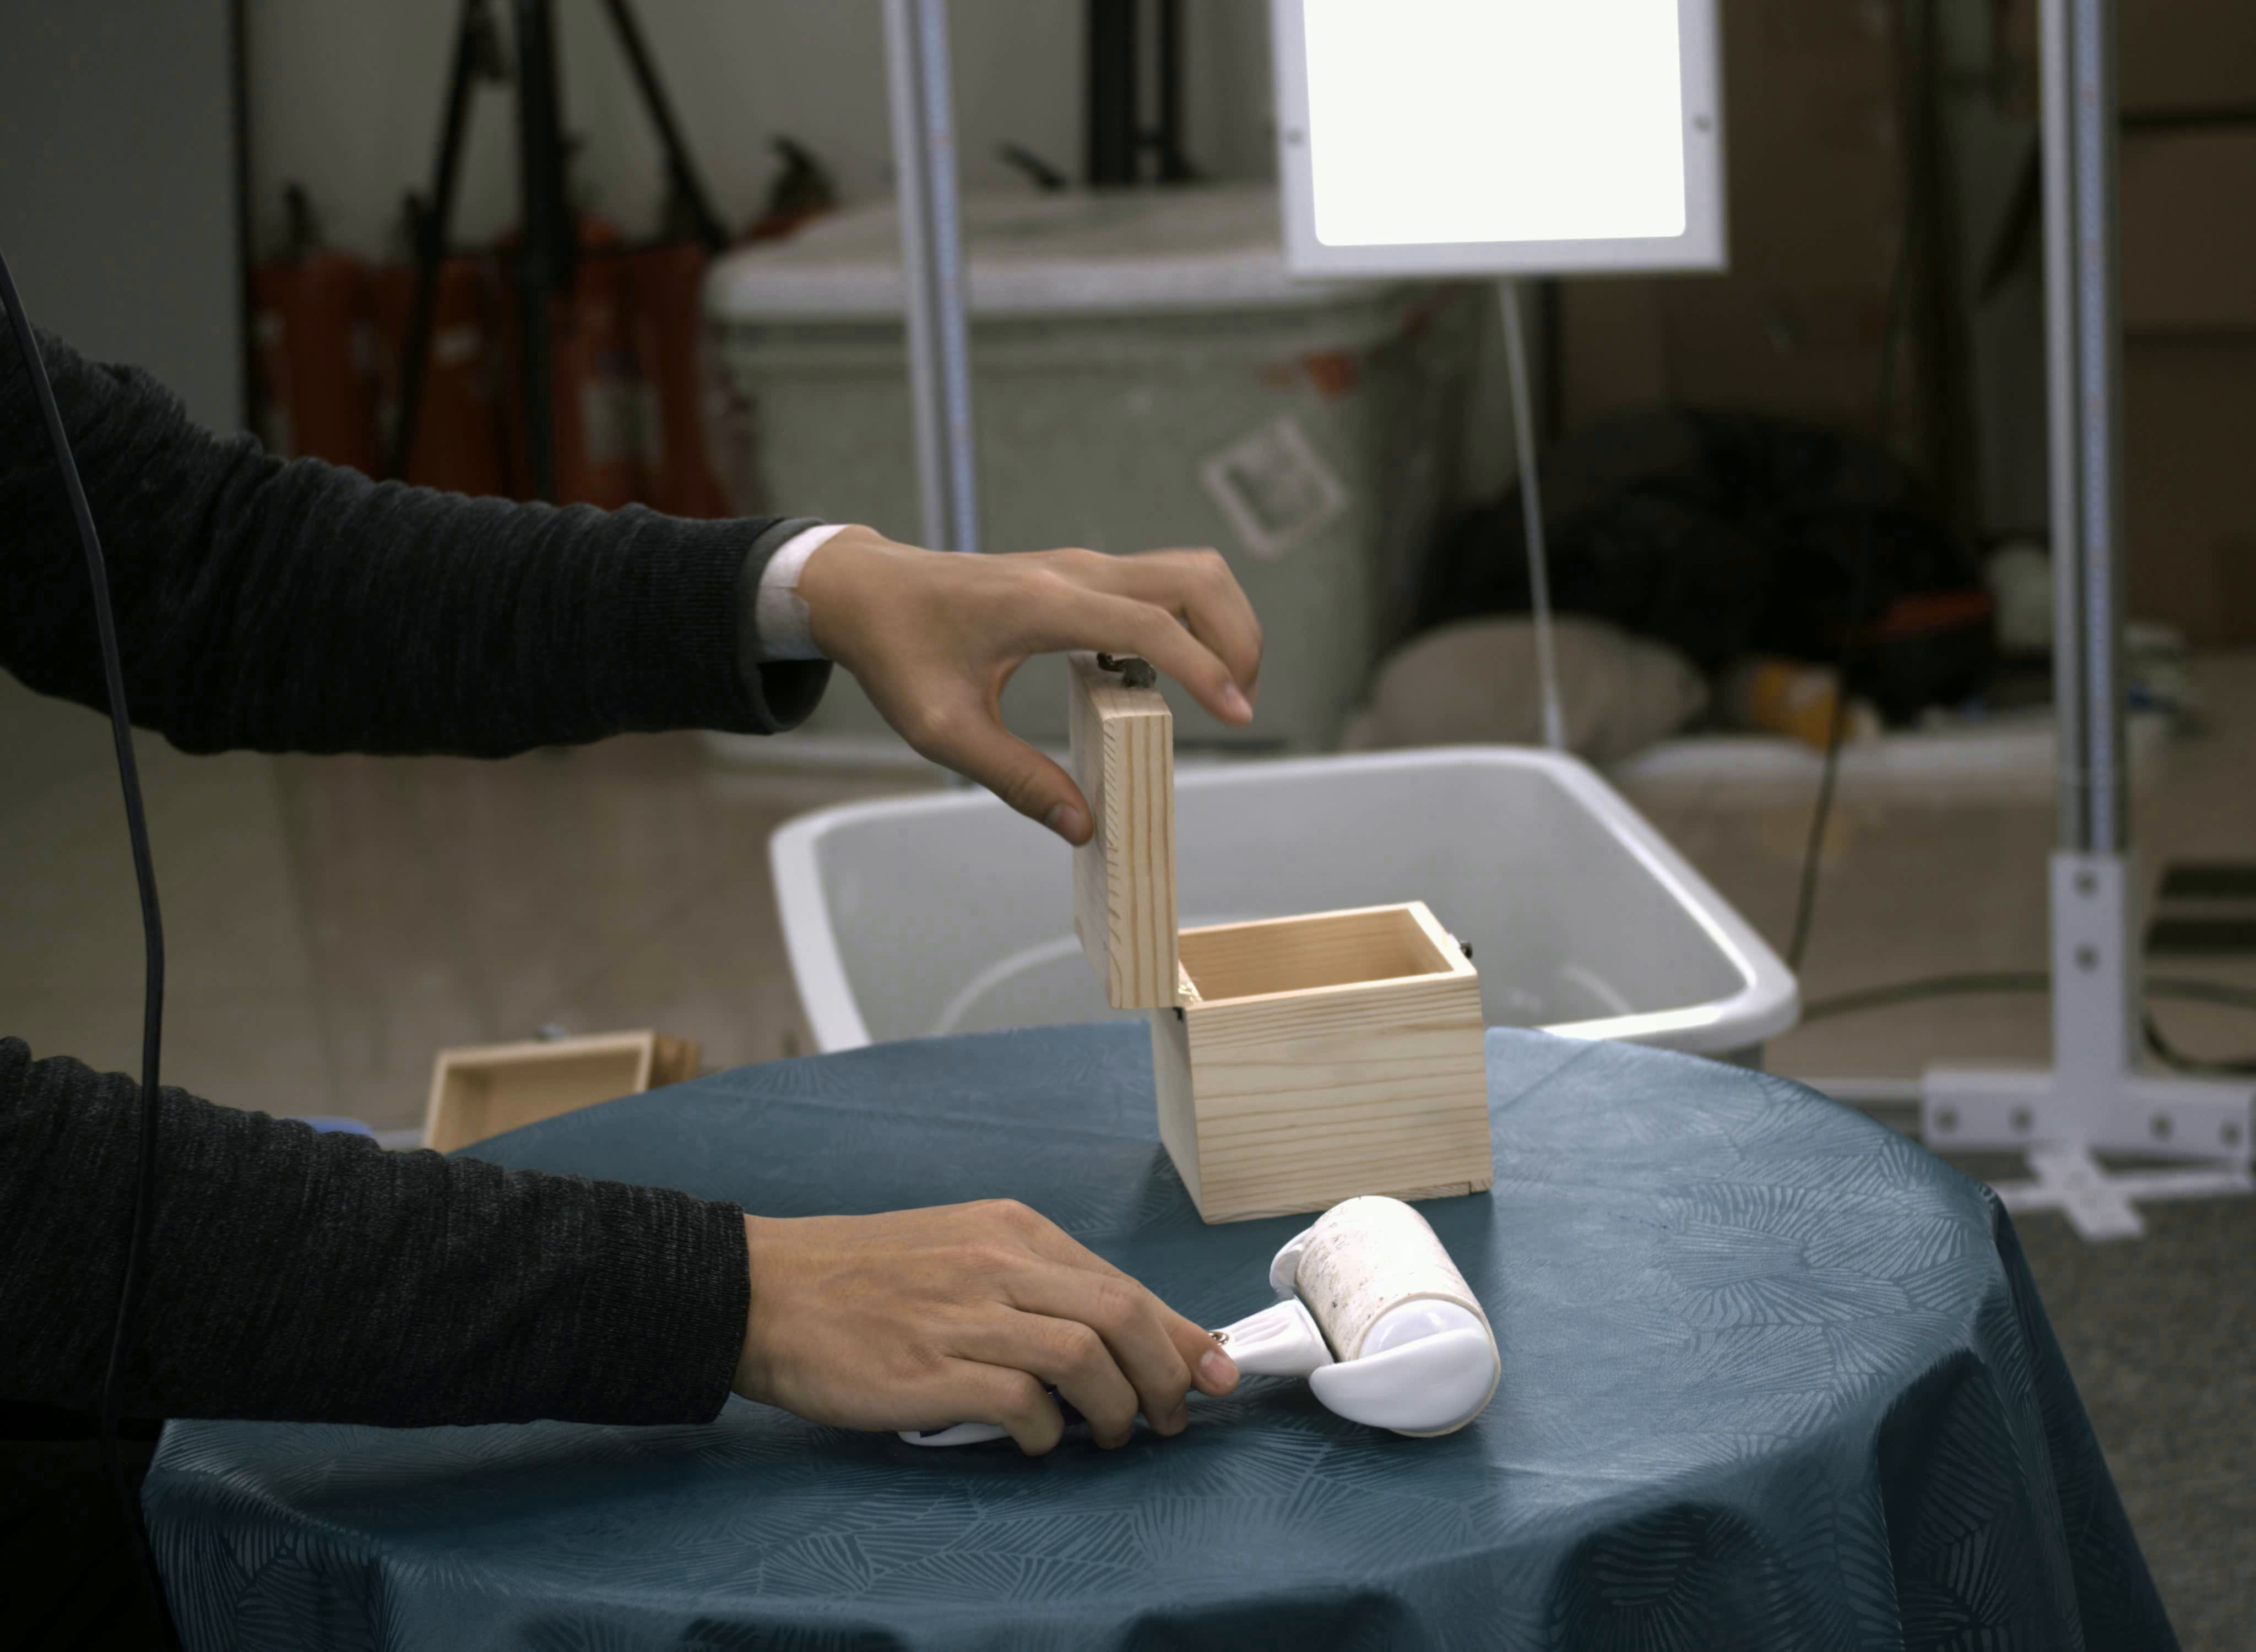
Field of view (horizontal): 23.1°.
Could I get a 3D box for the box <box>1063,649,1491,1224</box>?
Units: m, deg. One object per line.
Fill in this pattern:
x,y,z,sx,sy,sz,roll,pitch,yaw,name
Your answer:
0.052,0.031,1.885,0.133,0.185,0.103,-7,14,-5,box

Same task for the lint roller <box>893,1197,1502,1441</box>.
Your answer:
0.017,0.155,1.676,0.180,0.050,0.133,-4,15,-4,lint roller
